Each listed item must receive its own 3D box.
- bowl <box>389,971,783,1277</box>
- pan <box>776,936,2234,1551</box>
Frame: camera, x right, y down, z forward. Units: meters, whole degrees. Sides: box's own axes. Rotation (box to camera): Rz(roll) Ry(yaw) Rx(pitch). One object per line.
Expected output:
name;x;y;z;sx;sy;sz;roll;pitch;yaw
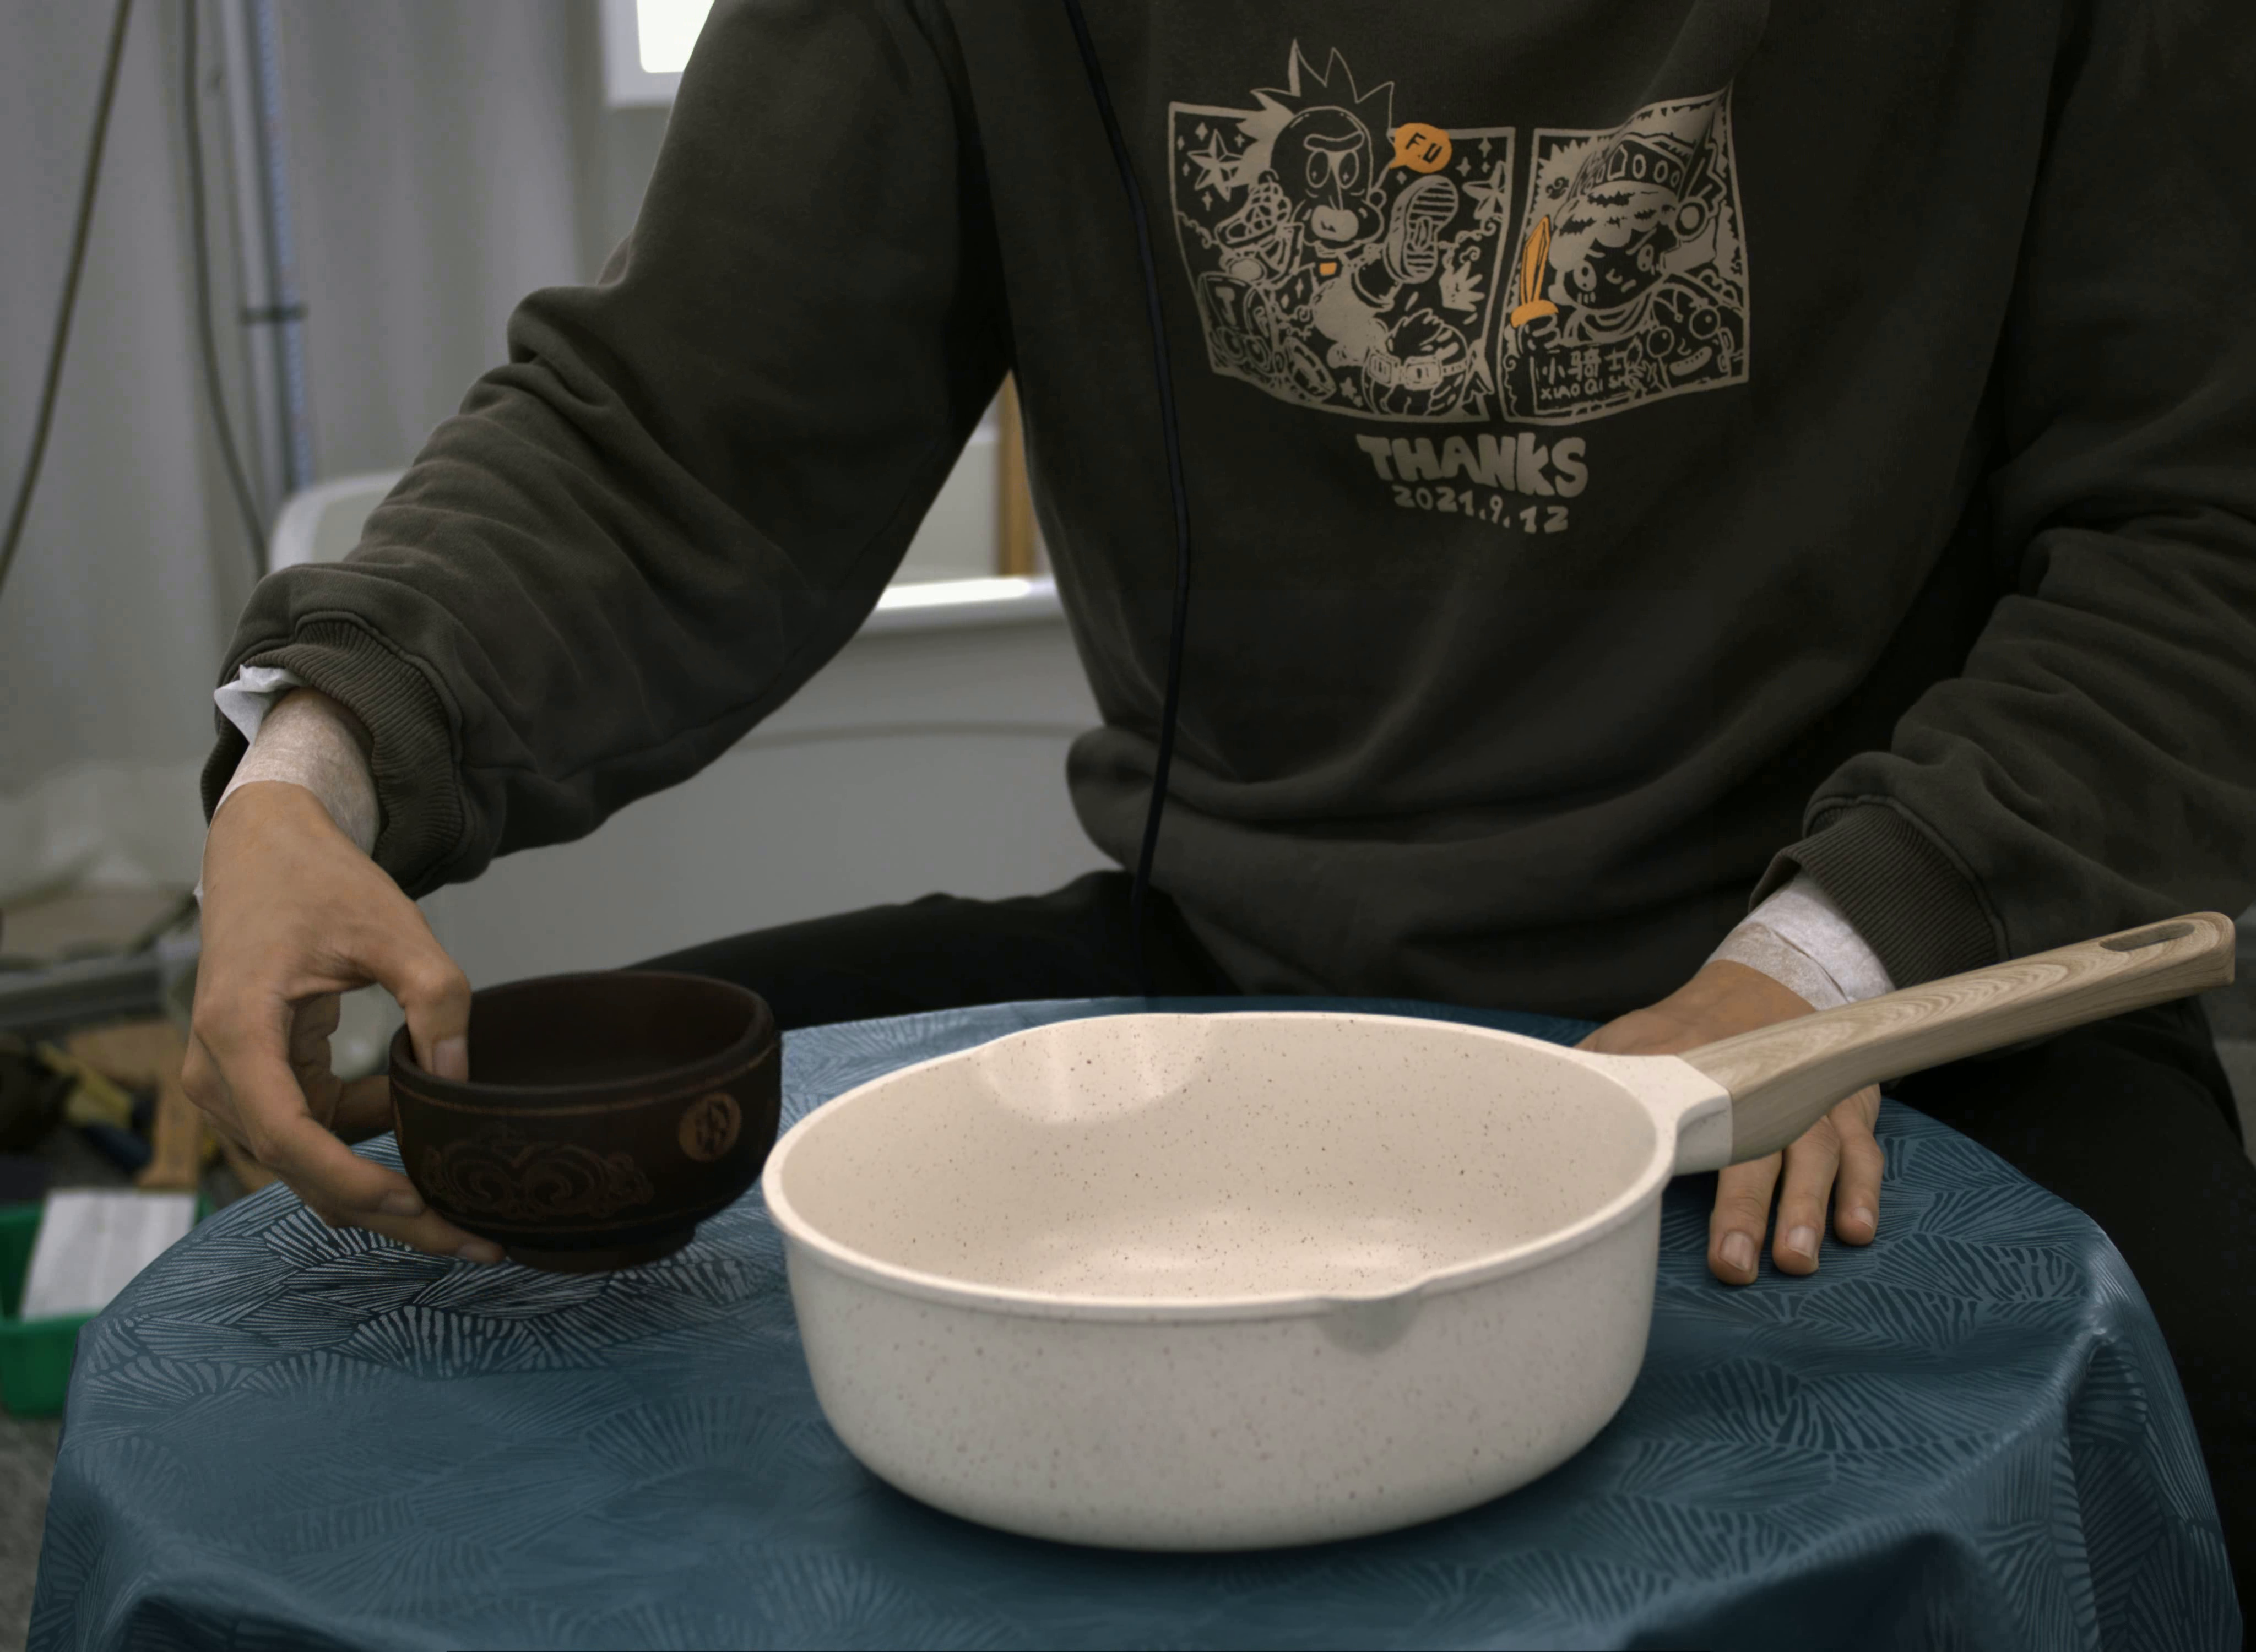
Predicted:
bowl;-0.161;0.094;1.644;0.117;0.069;0.119;-5;15;1
pan;0.117;0.109;1.531;0.433;0.101;0.265;-7;14;-17
